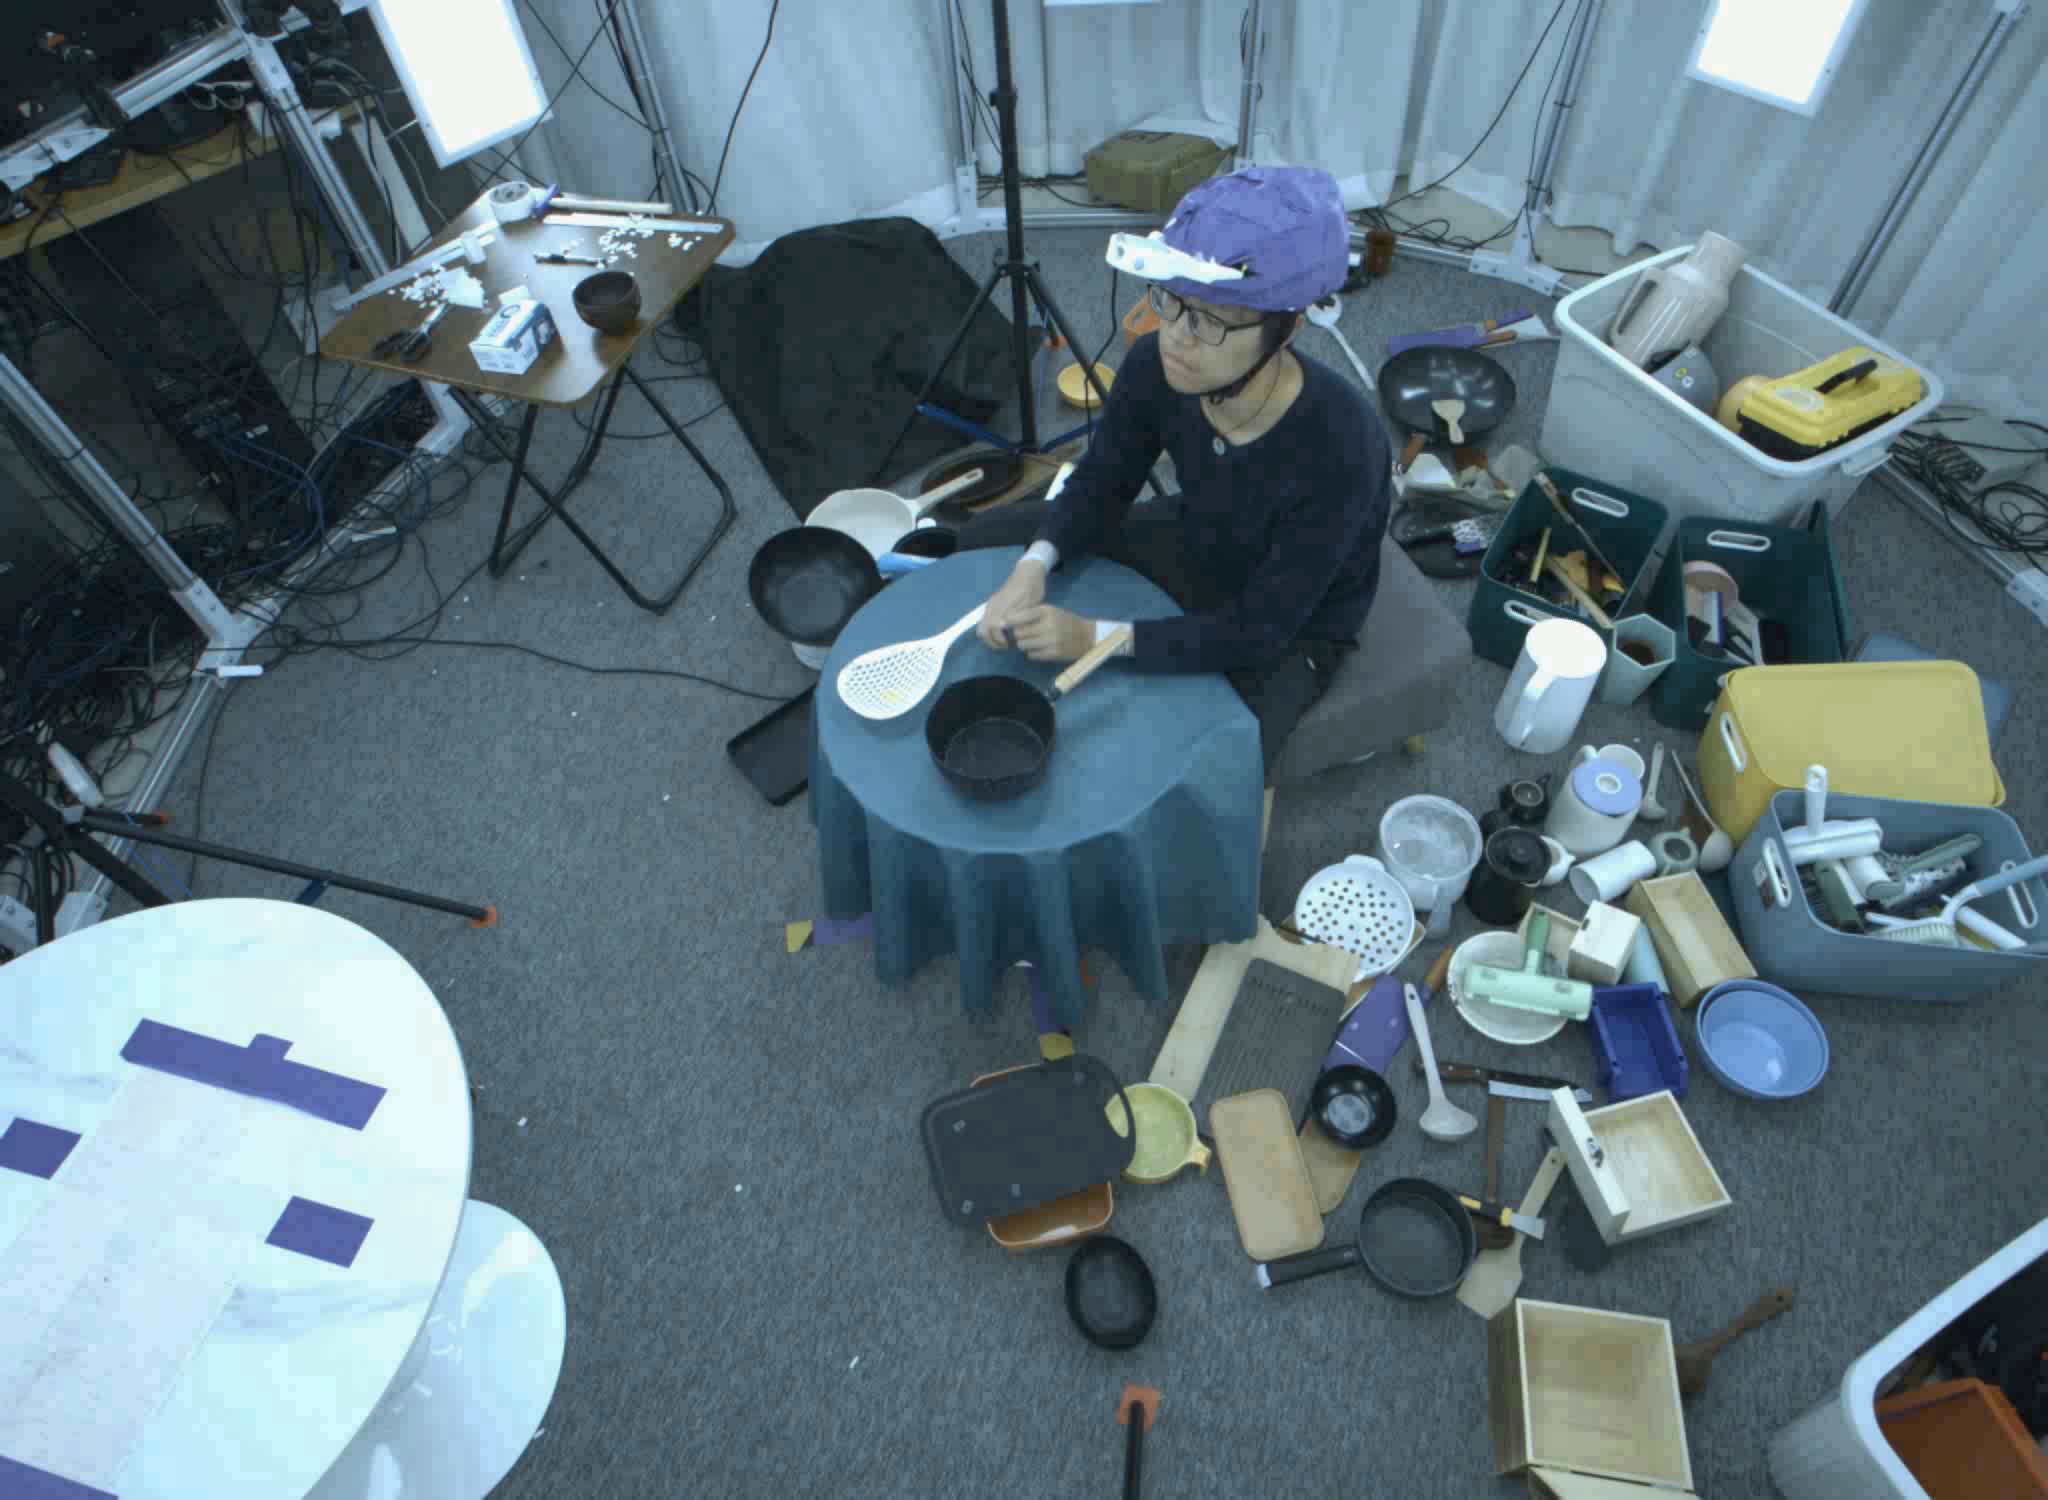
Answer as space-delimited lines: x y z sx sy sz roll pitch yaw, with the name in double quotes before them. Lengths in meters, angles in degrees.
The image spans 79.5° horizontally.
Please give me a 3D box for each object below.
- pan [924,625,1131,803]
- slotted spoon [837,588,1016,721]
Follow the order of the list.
"pan" 0.017 -0.059 1.762 0.345 0.109 0.203 -35 59 -19
"slotted spoon" -0.132 -0.157 1.876 0.134 0.051 0.350 36 65 26
